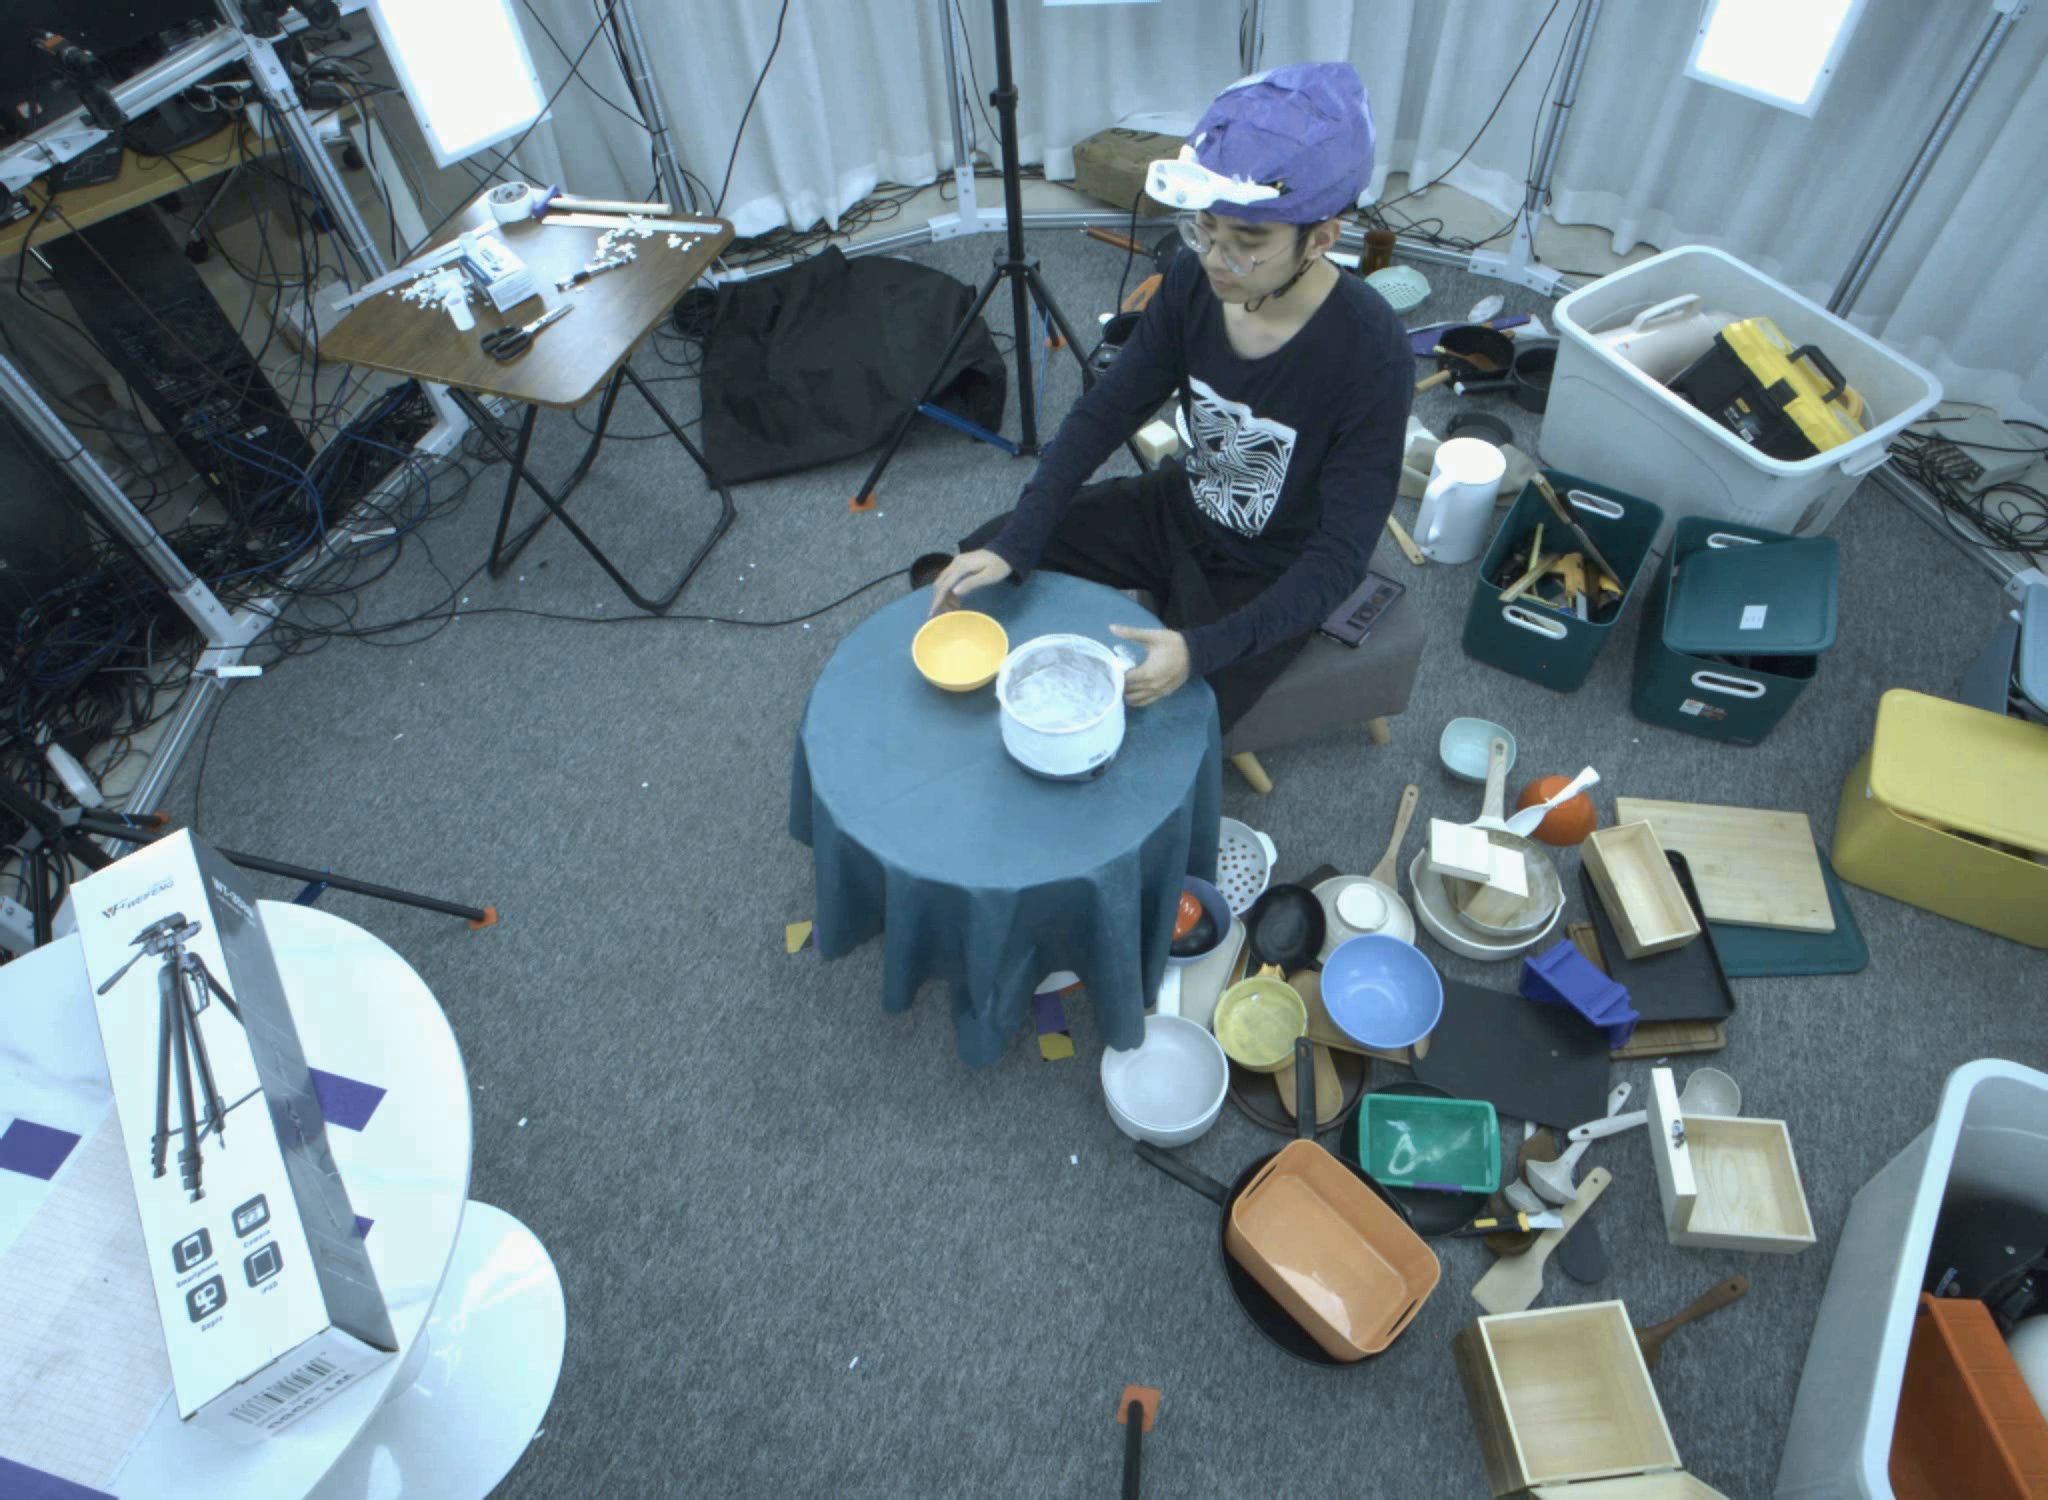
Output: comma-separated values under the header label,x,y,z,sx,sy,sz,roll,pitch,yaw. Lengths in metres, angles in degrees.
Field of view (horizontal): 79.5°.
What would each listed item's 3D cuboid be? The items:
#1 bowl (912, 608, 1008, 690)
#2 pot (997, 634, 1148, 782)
label,x,y,z,sx,sy,sz,roll,pitch,yaw
bowl,-0.095,-0.141,1.860,0.145,0.061,0.144,0,56,2
pot,0.077,-0.069,1.761,0.236,0.138,0.175,-30,58,-20
